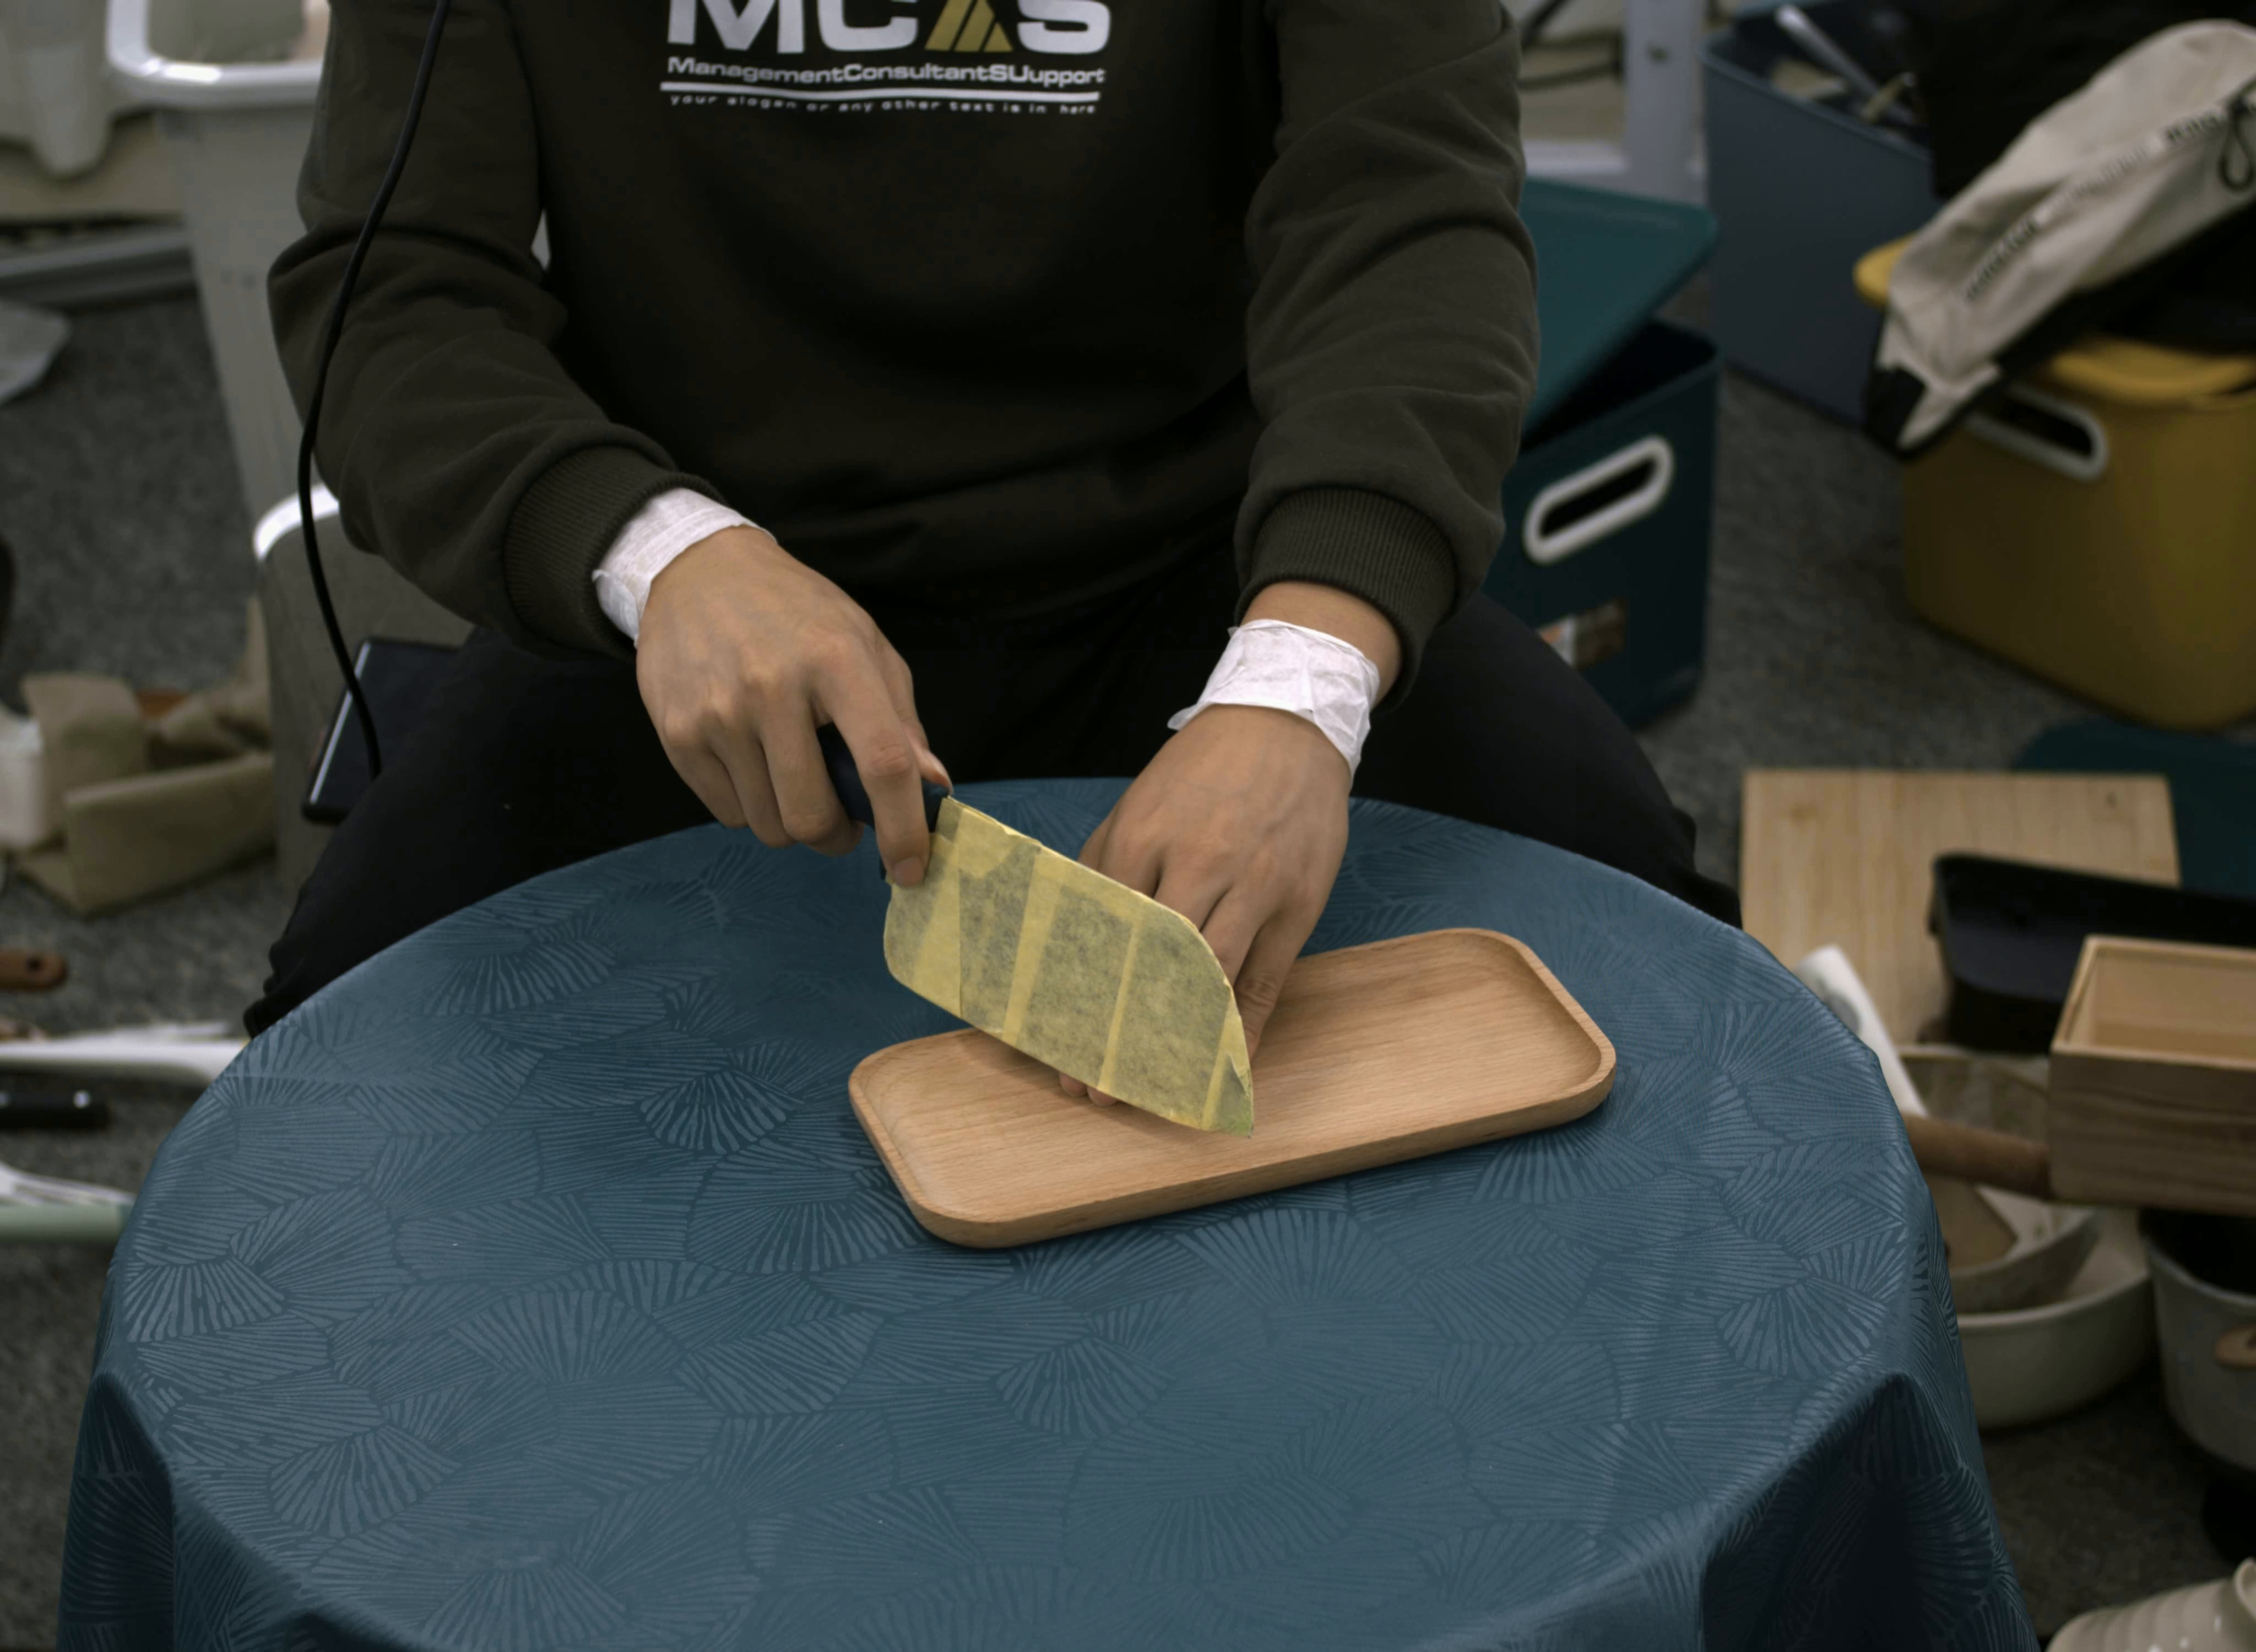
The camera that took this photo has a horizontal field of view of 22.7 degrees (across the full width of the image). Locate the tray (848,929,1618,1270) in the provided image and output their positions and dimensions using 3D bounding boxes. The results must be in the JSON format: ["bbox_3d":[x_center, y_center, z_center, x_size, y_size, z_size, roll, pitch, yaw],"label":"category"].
[{"bbox_3d":[0.035,0.092,1.904,0.251,0.022,0.131,-14,26,-15],"label":"tray"}]

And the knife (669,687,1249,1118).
[{"bbox_3d":[-0.061,0.024,1.927,0.290,0.080,0.027,30,22,37],"label":"knife"}]
